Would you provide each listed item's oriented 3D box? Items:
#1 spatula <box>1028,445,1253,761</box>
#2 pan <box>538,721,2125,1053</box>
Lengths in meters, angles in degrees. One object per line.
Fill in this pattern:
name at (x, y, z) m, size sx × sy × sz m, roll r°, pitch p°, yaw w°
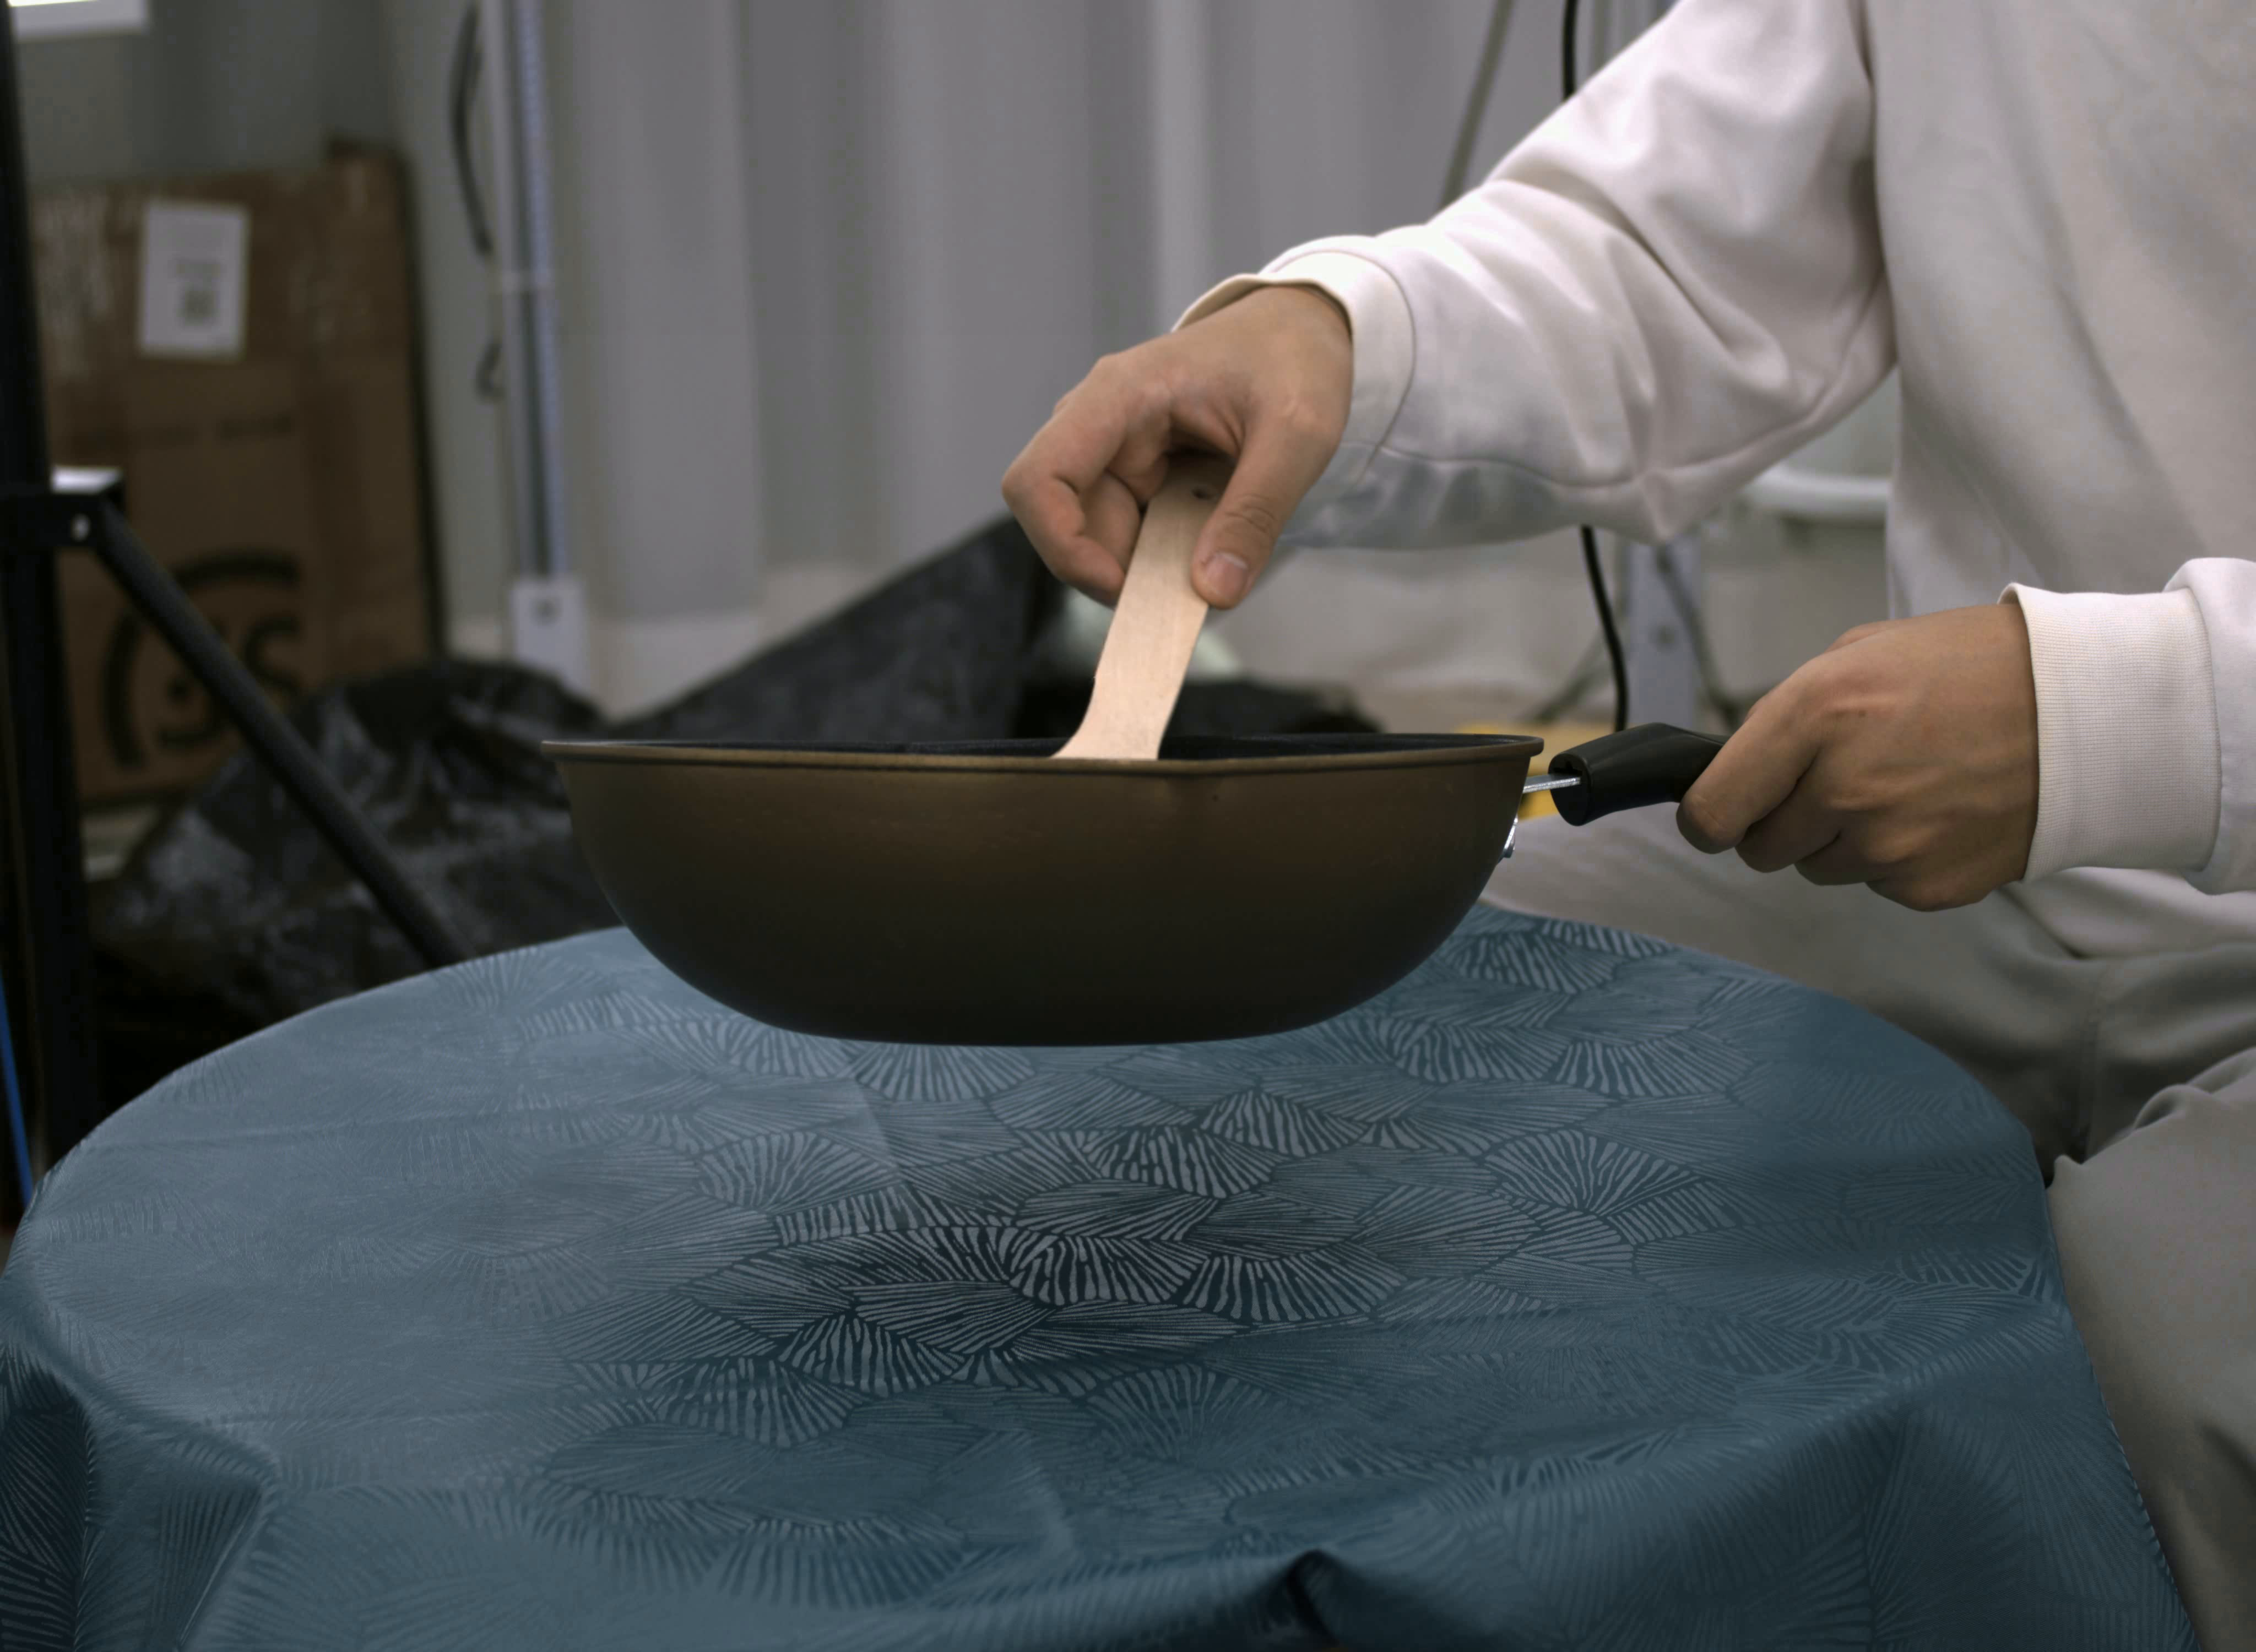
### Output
spatula at (0.001, -0.039, 1.575) m, size 0.072 × 0.010 × 0.293 m, roll 13°, pitch 35°, yaw 3°
pan at (0.063, 0.015, 1.494) m, size 0.456 × 0.087 × 0.291 m, roll 0°, pitch 2°, yaw -14°
